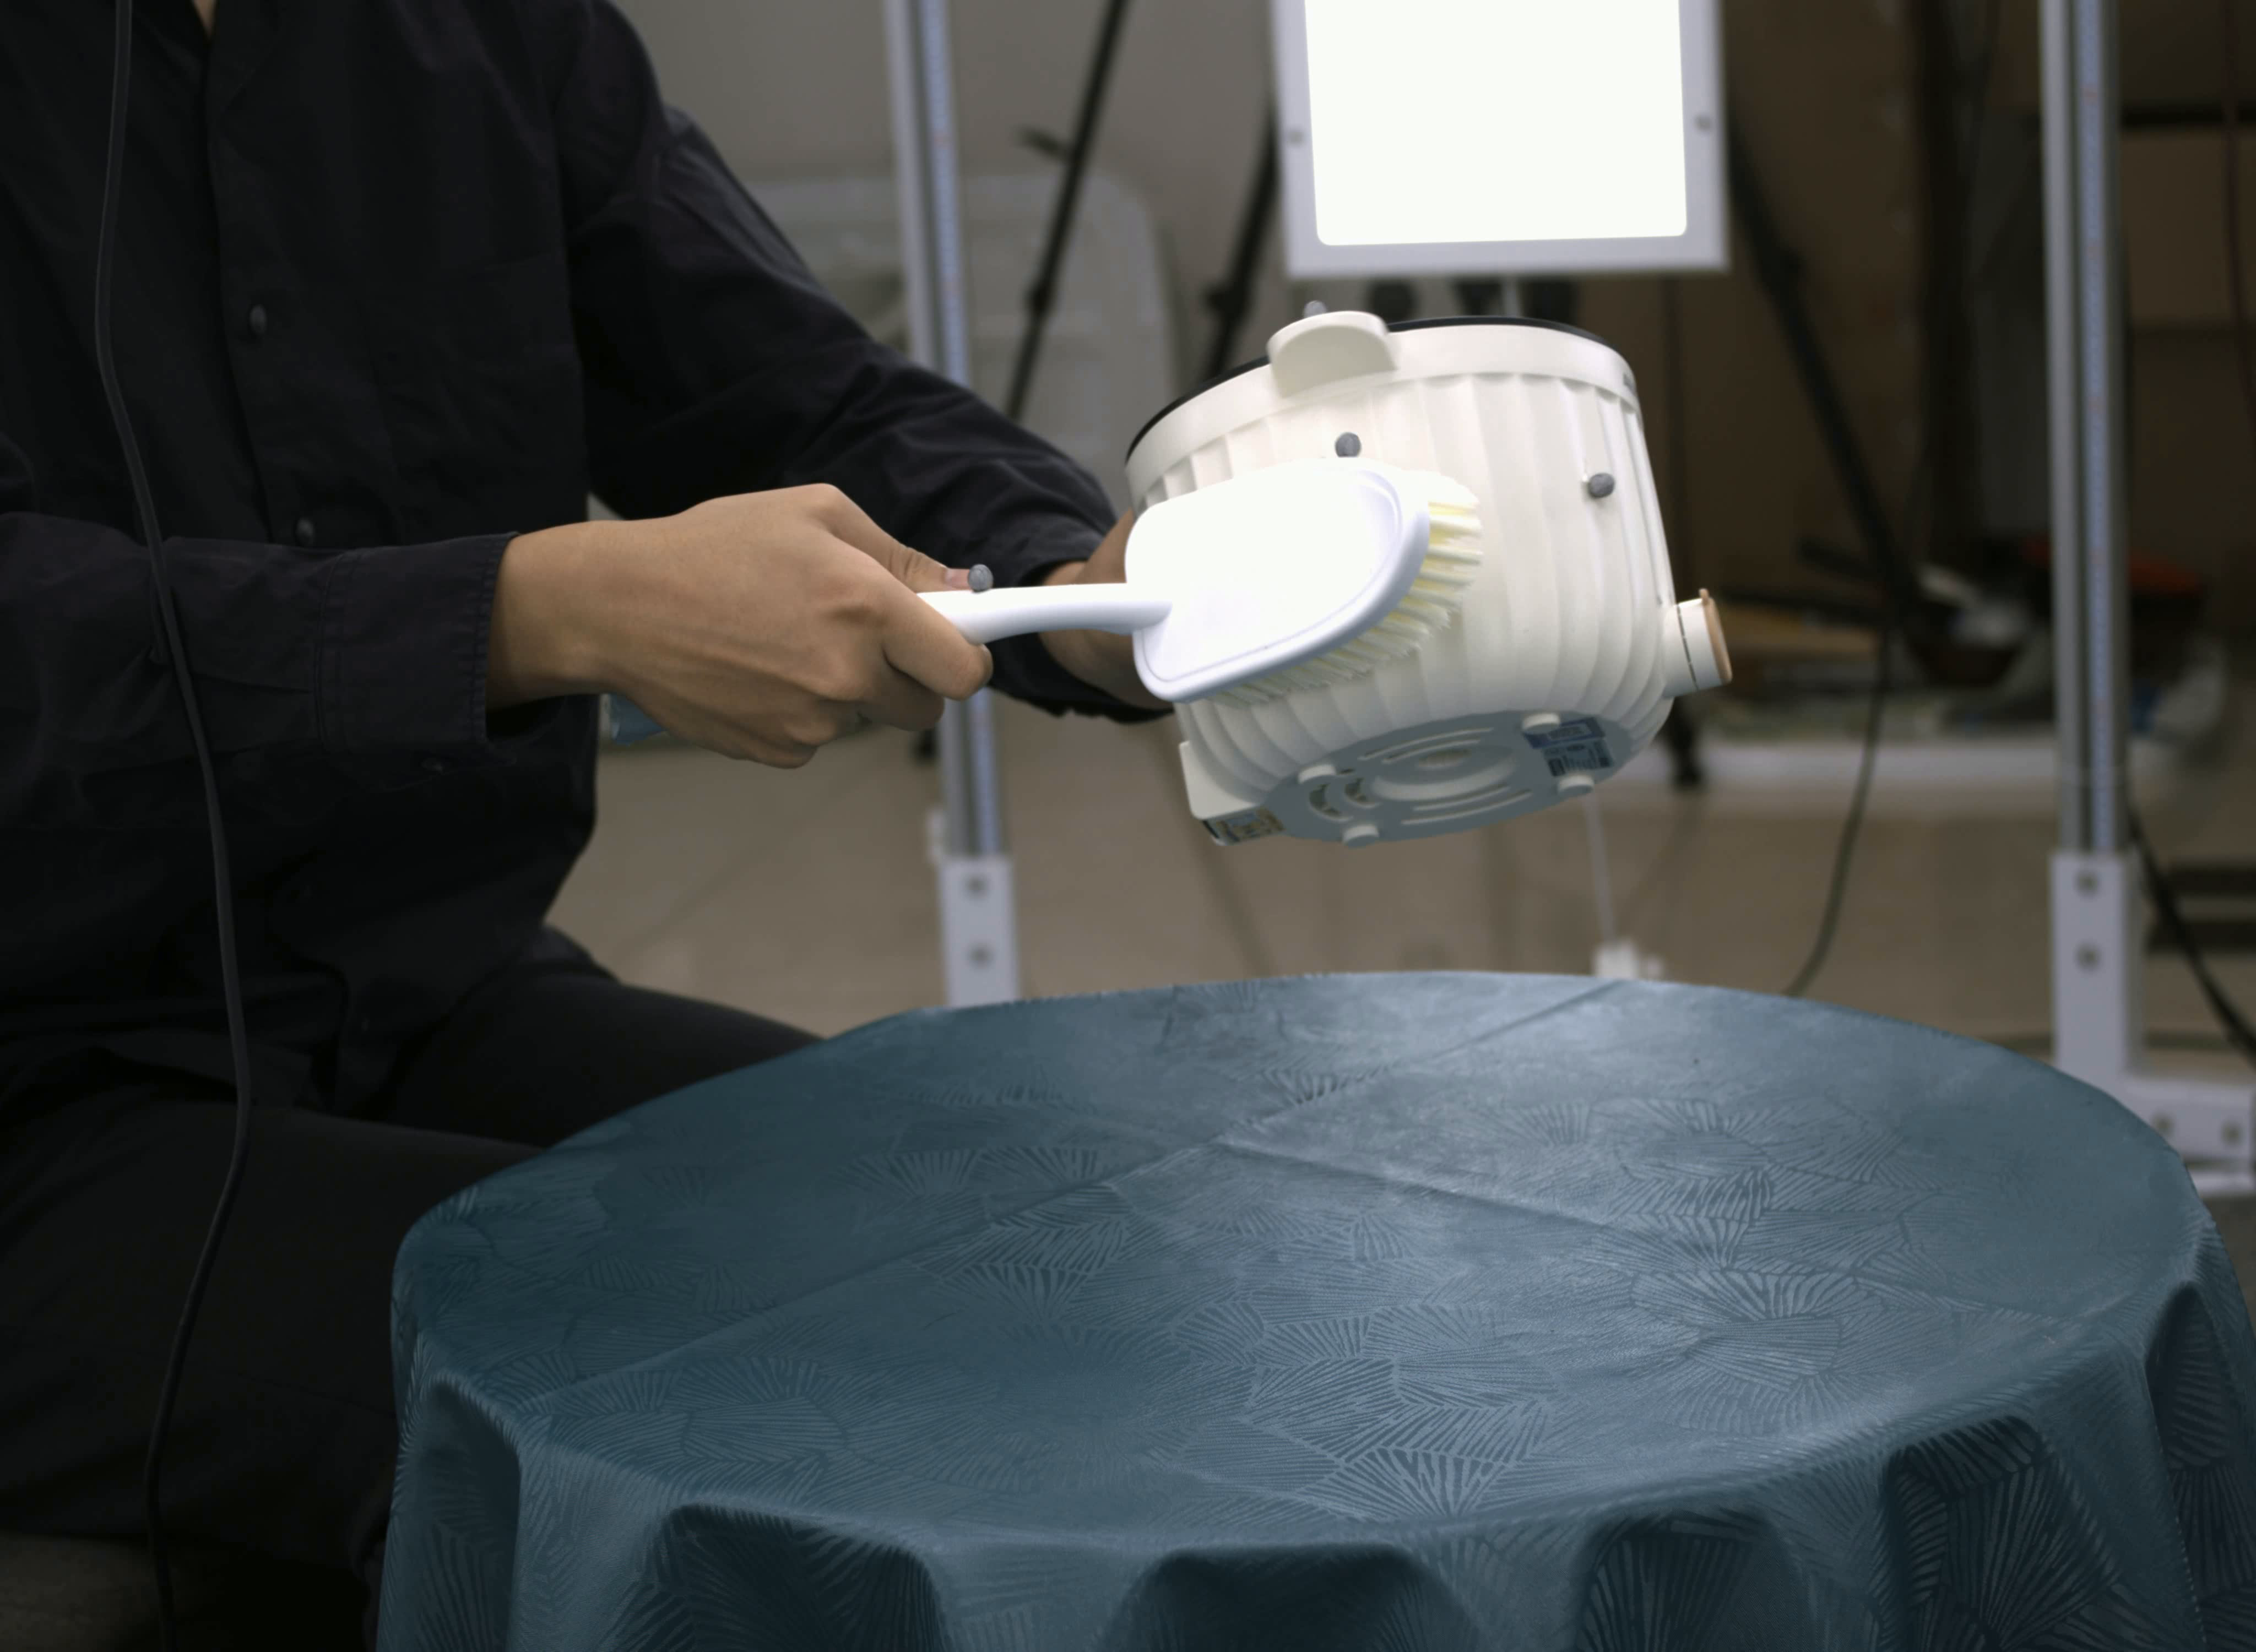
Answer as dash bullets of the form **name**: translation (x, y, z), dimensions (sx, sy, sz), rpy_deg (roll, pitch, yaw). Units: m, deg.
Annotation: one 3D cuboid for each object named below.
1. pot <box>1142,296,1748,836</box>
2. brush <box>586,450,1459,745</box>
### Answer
- **pot**: translation (0.111, -0.084, 1.912), dimensions (0.191, 0.143, 0.238), rpy_deg (-15, -17, 9)
- **brush**: translation (-0.033, -0.071, 1.845), dimensions (0.331, 0.084, 0.082), rpy_deg (-13, 41, 29)
